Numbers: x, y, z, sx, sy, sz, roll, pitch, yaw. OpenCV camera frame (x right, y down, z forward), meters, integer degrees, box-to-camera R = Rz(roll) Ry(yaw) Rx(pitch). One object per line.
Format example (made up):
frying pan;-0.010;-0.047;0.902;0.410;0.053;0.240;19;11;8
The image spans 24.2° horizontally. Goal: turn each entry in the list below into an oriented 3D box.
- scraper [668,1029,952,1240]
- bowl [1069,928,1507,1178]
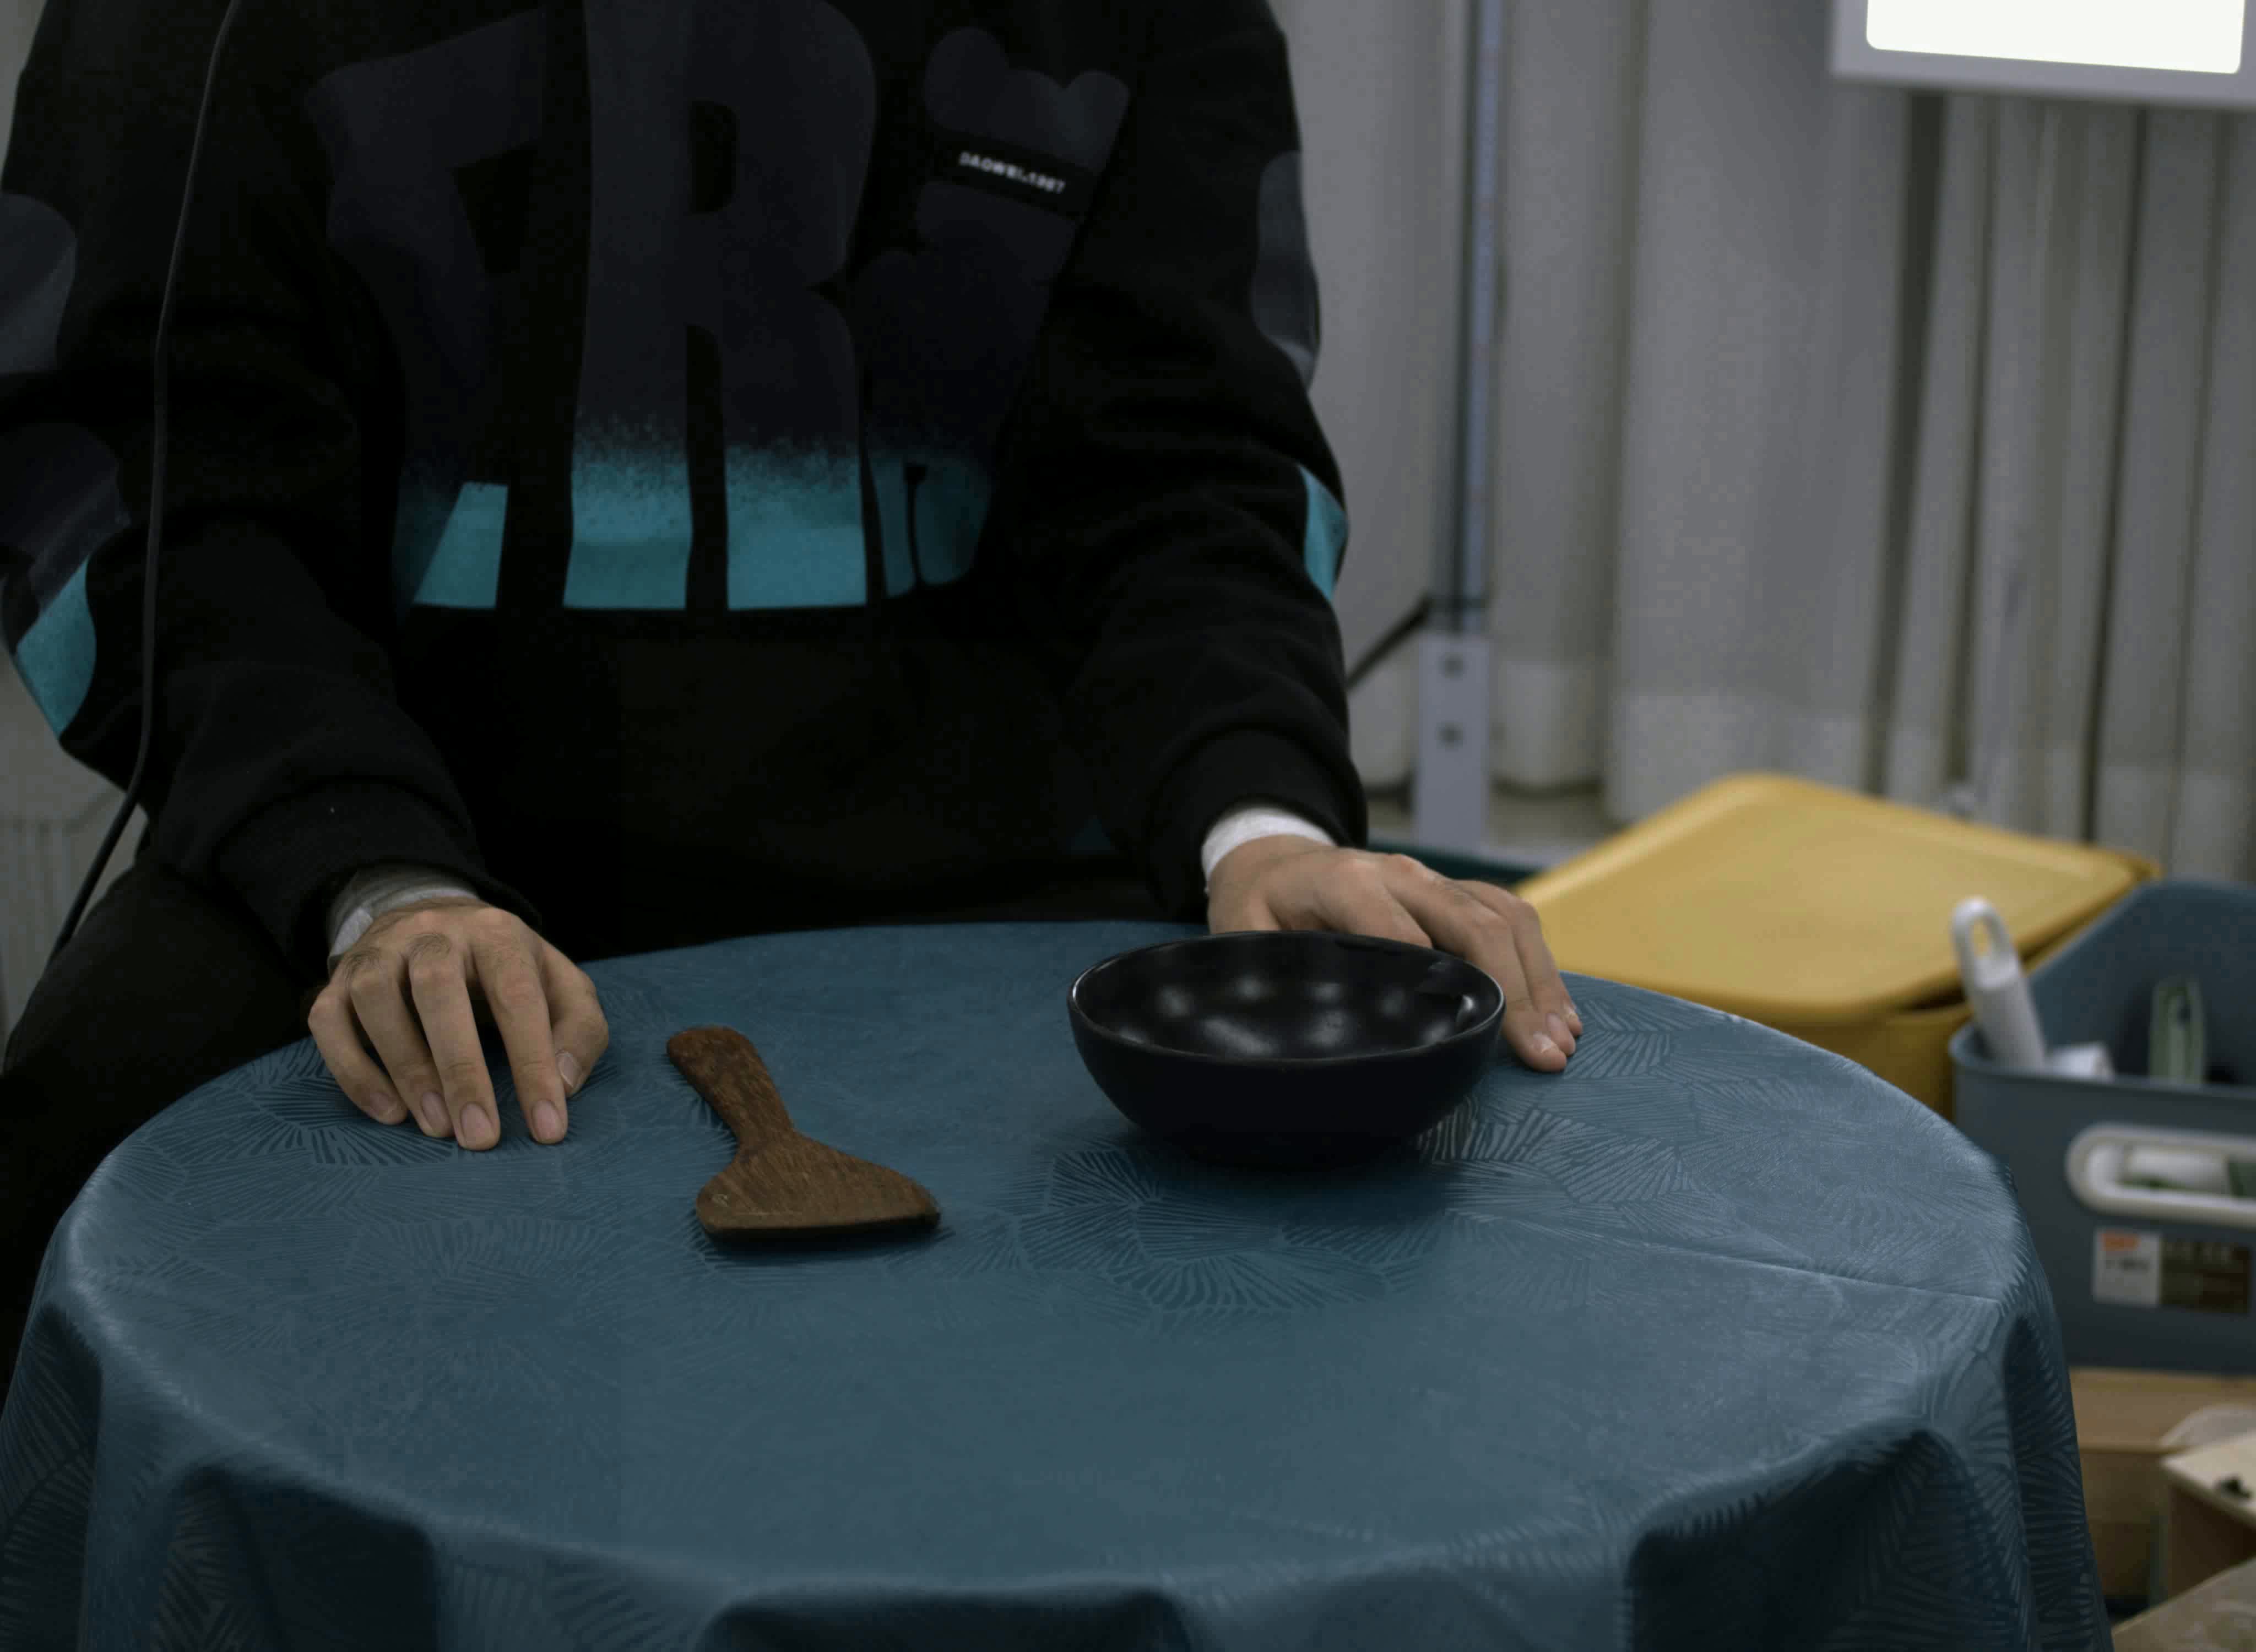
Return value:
scraper;-0.114;0.097;1.664;0.076;0.011;0.209;-3;15;-15
bowl;0.052;0.076;1.669;0.139;0.050;0.139;-2;17;1
